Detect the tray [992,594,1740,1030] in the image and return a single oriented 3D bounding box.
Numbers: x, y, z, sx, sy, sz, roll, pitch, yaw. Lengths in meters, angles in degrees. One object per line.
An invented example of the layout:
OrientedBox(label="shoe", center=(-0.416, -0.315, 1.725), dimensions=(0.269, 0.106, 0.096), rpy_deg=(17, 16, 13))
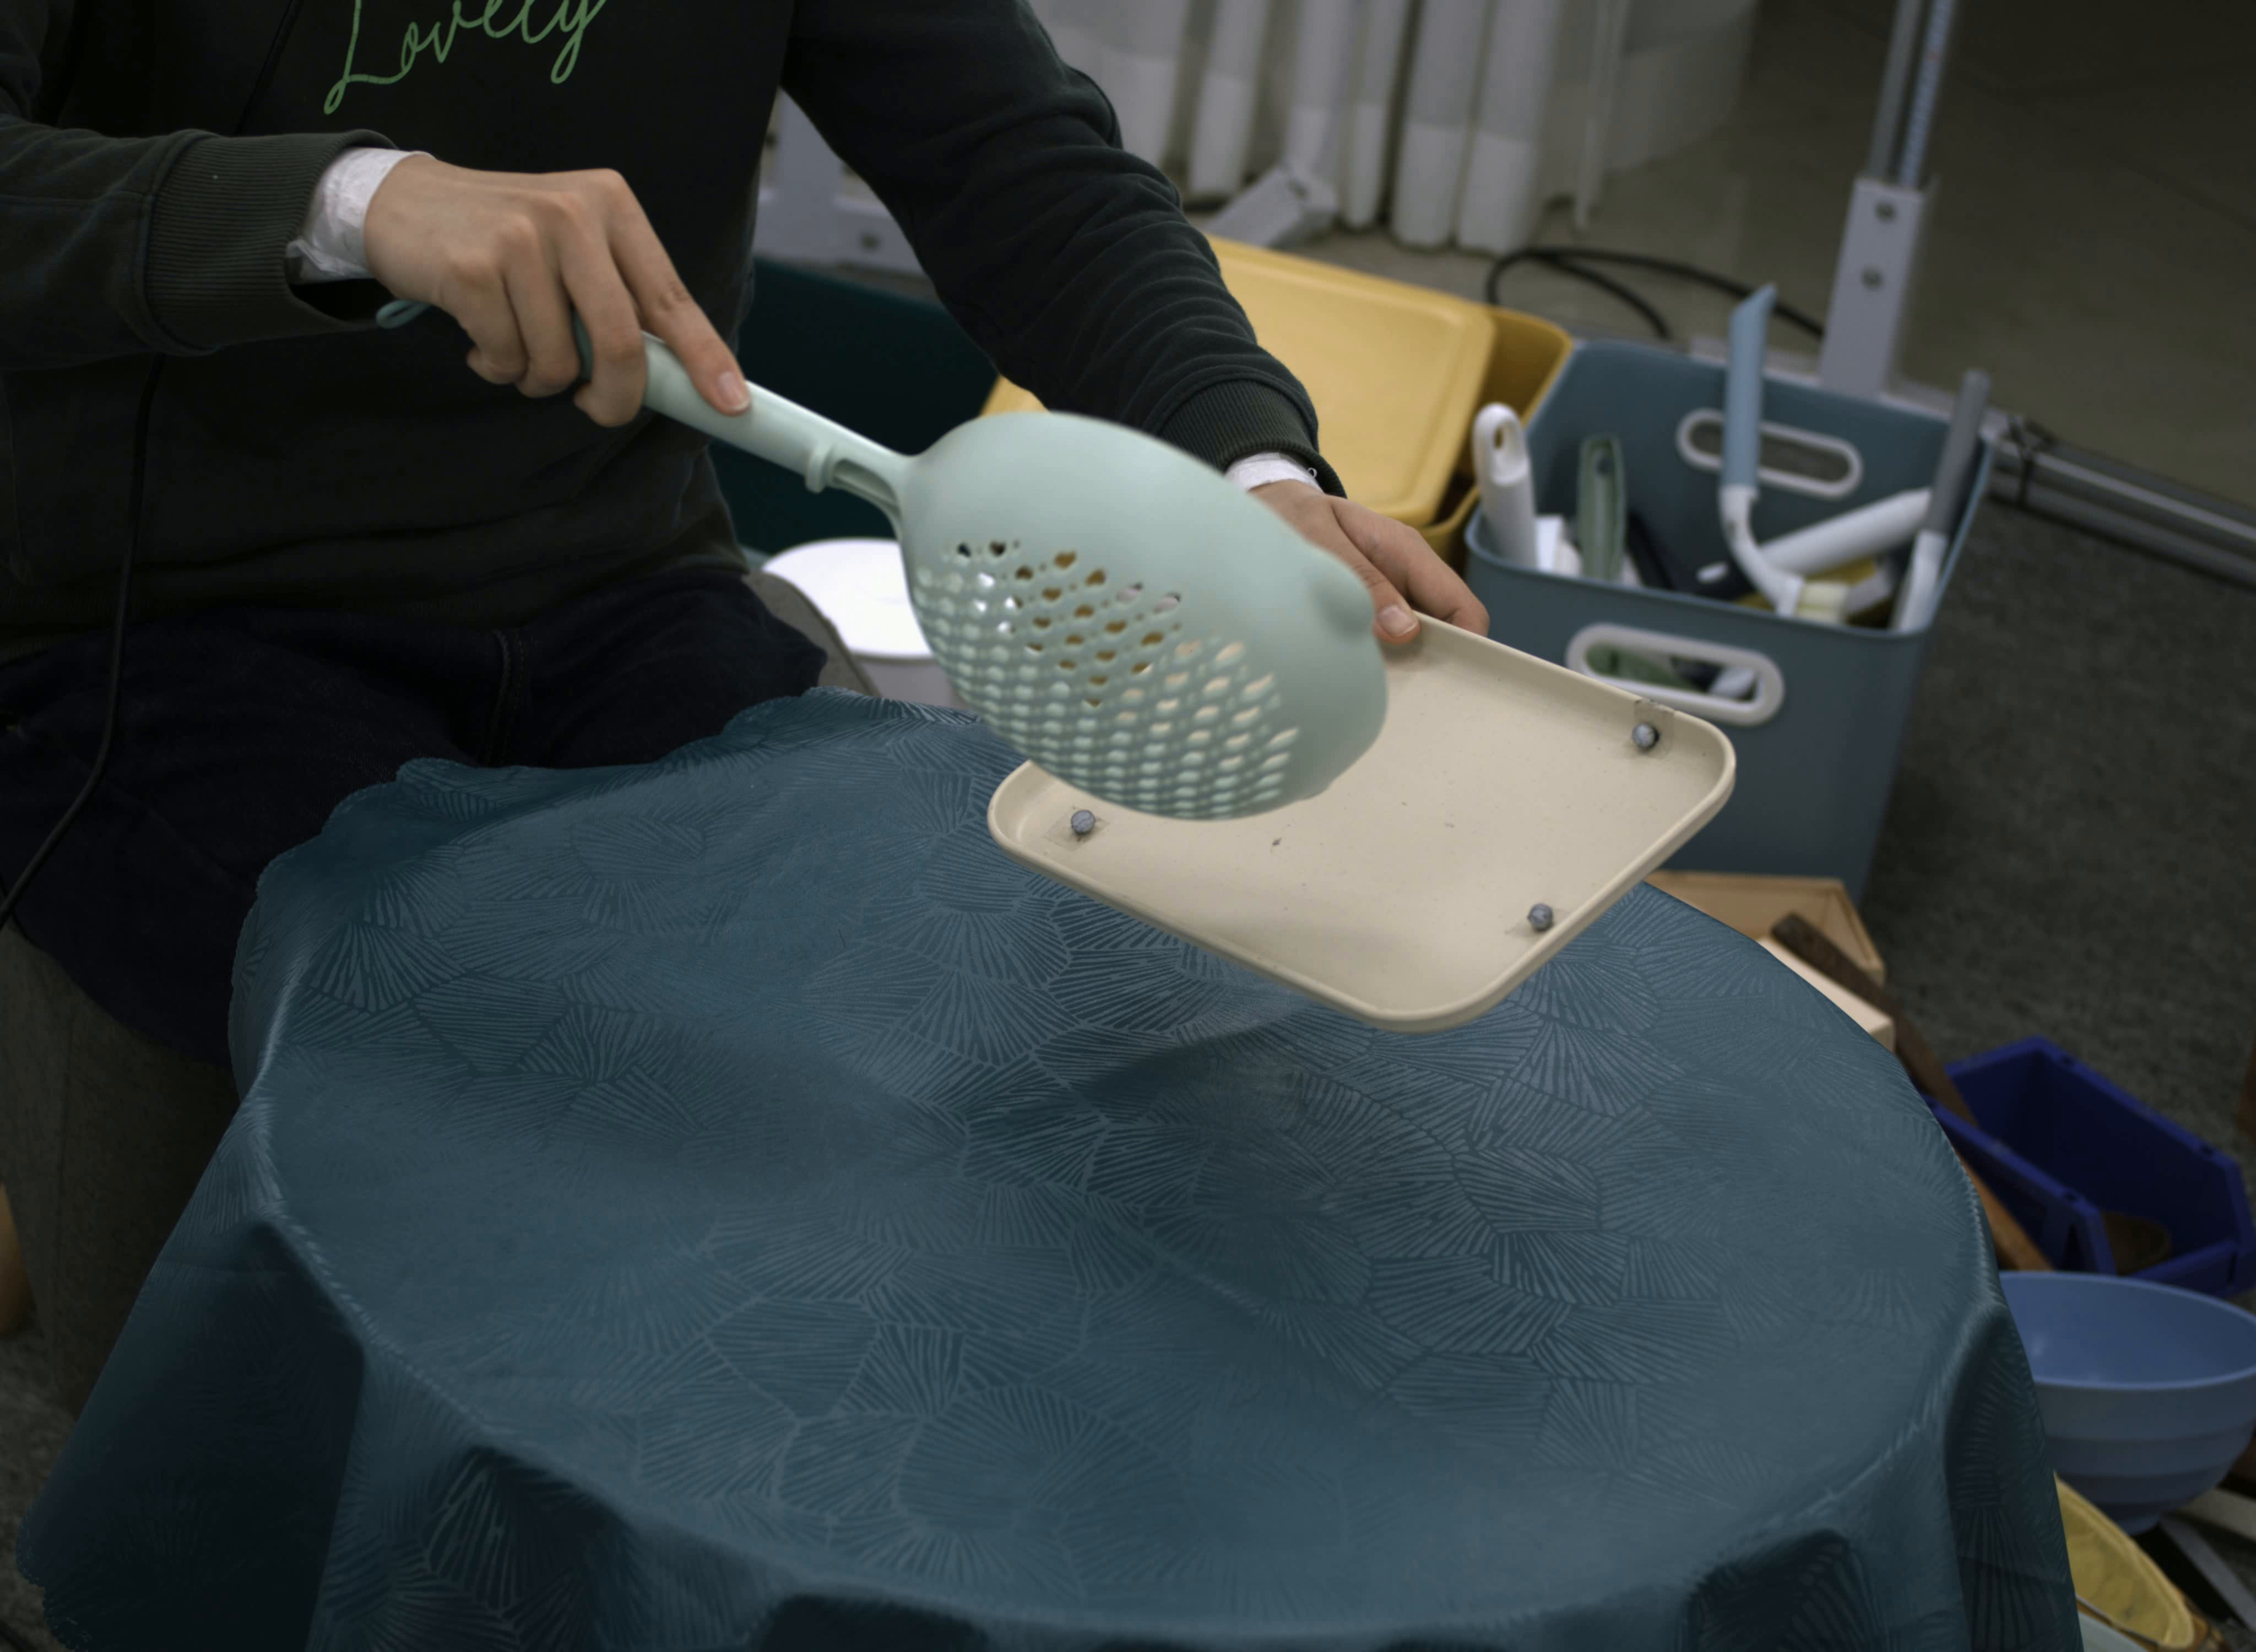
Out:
OrientedBox(label="tray", center=(0.080, -0.007, 1.814), dimensions=(0.171, 0.017, 0.241), rpy_deg=(-38, 38, -26))

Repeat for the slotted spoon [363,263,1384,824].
OrientedBox(label="slotted spoon", center=(-0.085, -0.107, 1.724), dimensions=(0.360, 0.168, 0.075), rpy_deg=(34, 61, 13))
